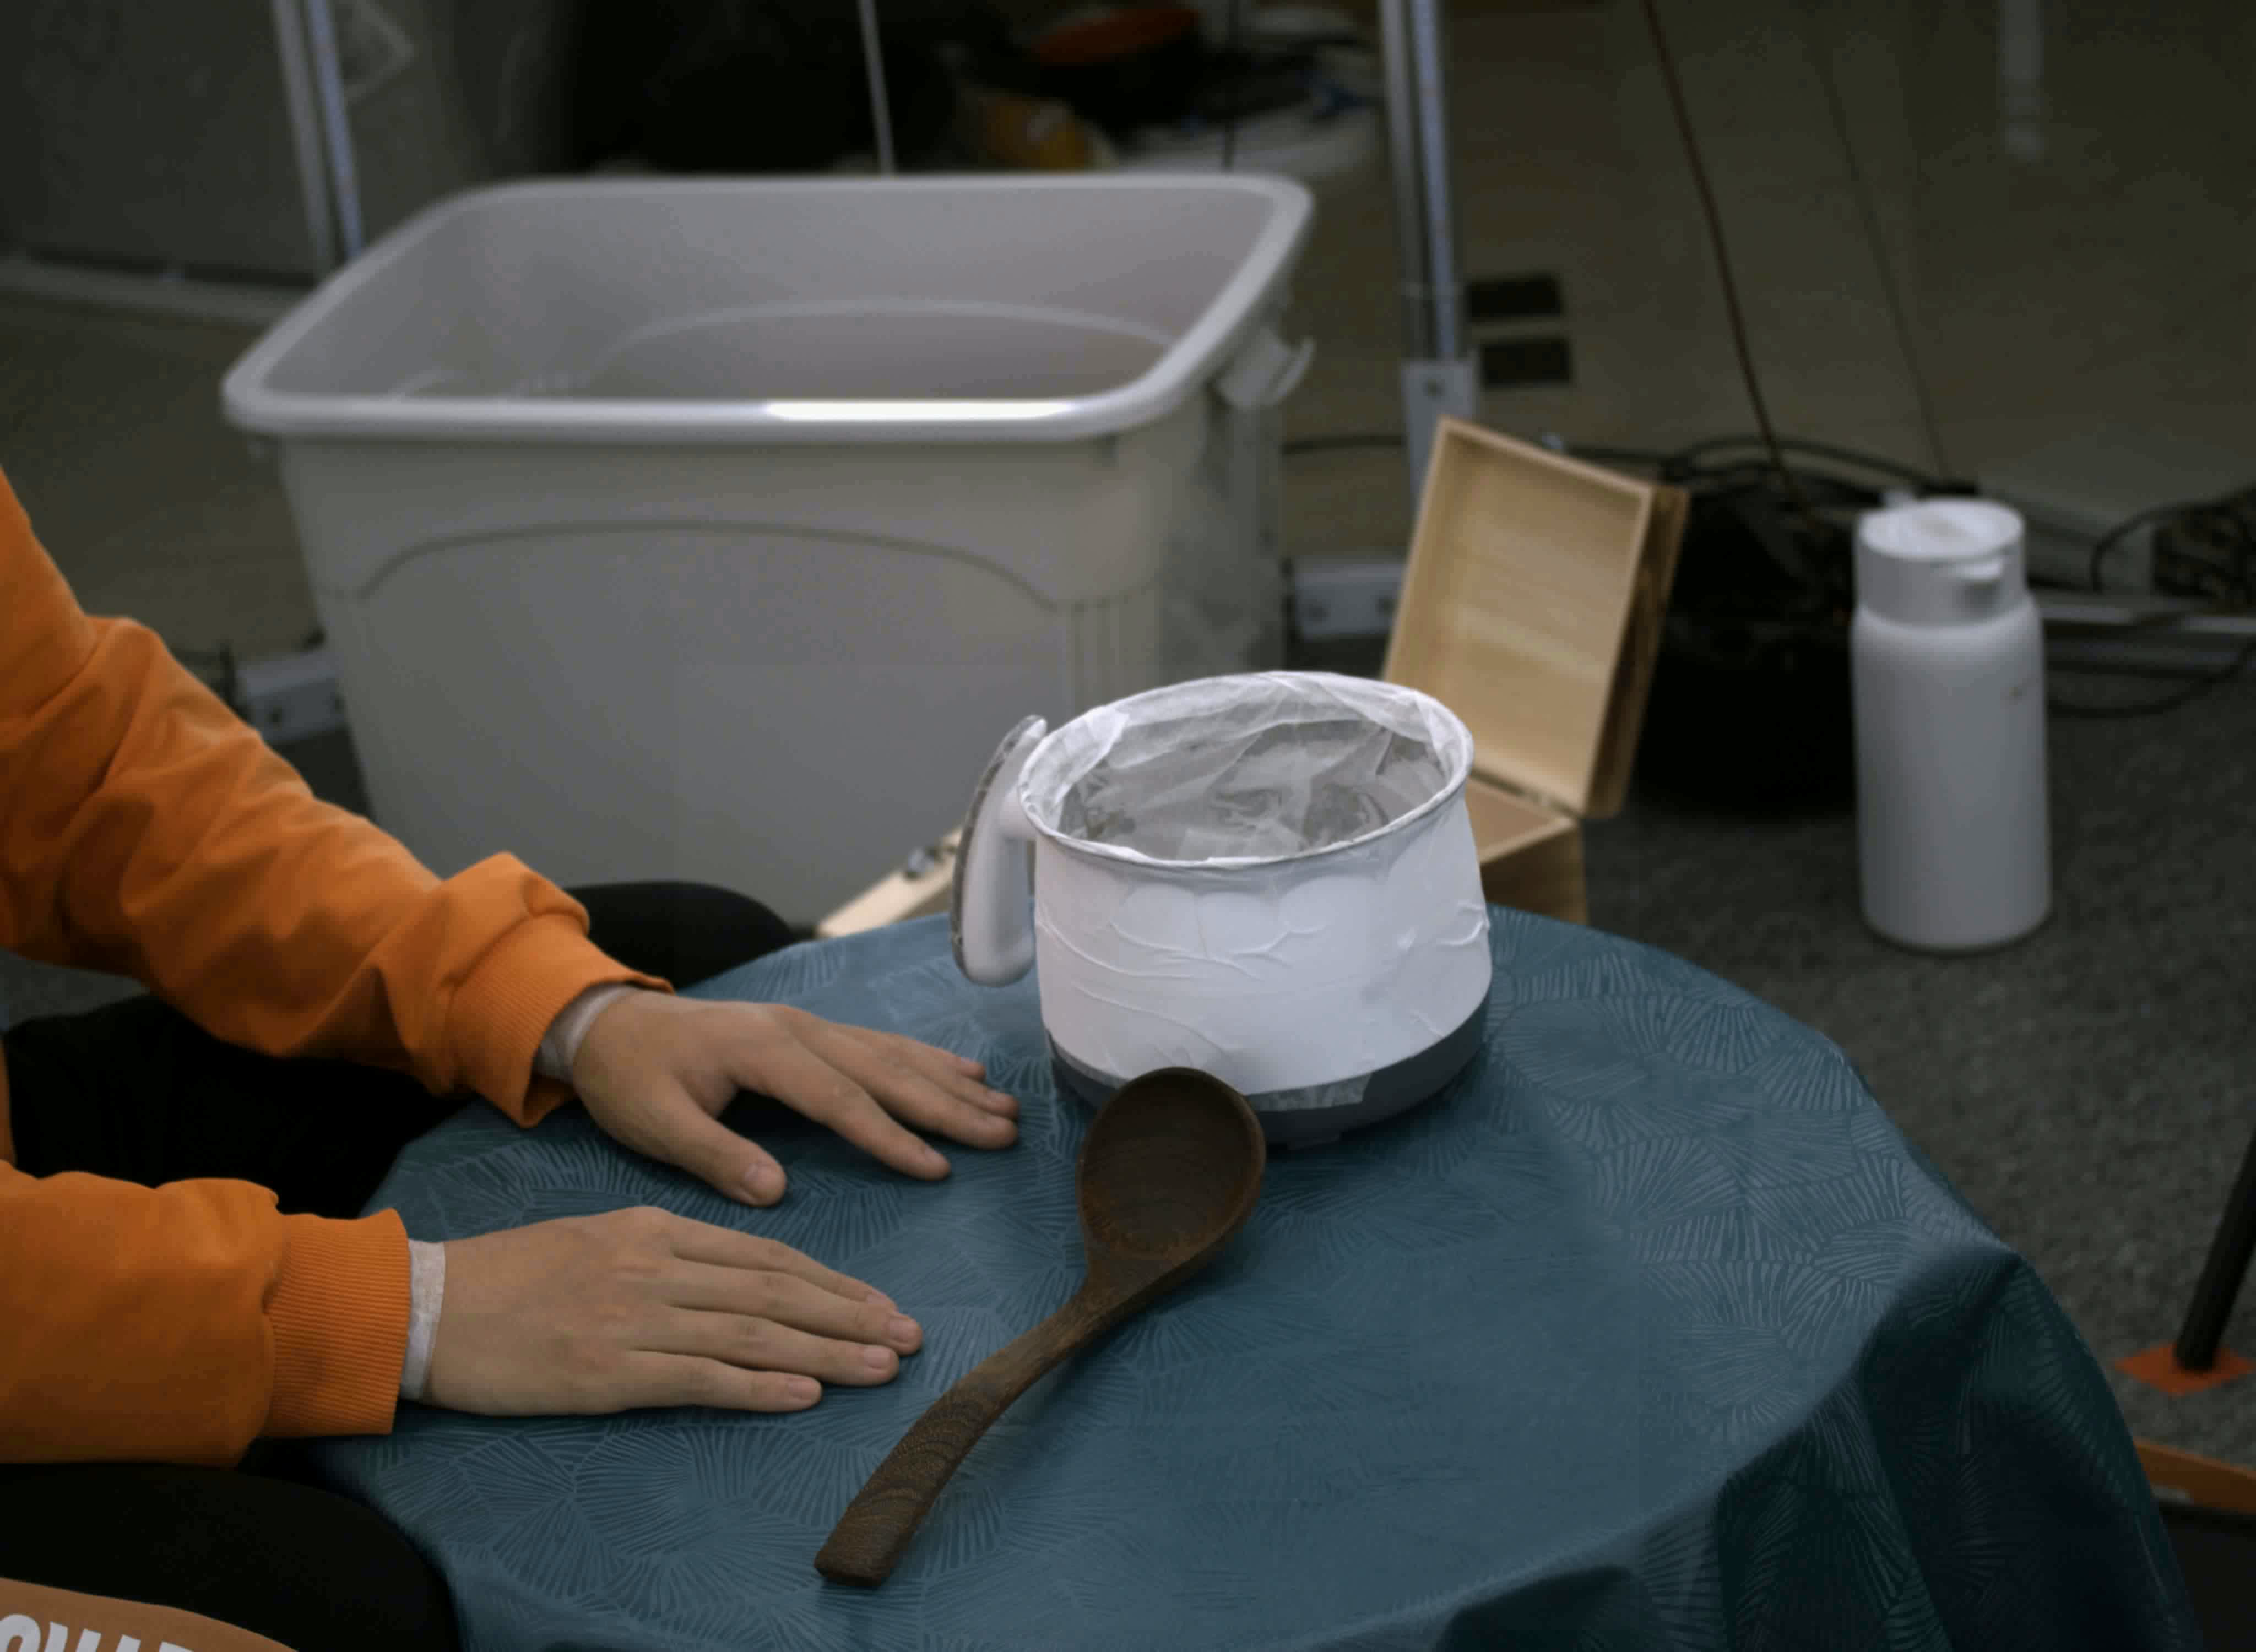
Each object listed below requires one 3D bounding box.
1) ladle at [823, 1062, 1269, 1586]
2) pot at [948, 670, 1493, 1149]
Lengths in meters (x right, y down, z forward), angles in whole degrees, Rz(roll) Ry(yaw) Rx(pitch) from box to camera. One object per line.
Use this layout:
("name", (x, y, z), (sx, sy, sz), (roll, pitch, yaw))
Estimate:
("ladle", (-0.034, 0.170, 2.006), (0.076, 0.072, 0.271), (5, 27, 30))
("pot", (0.028, 0.030, 2.209), (0.232, 0.139, 0.176), (10, 29, 31))
